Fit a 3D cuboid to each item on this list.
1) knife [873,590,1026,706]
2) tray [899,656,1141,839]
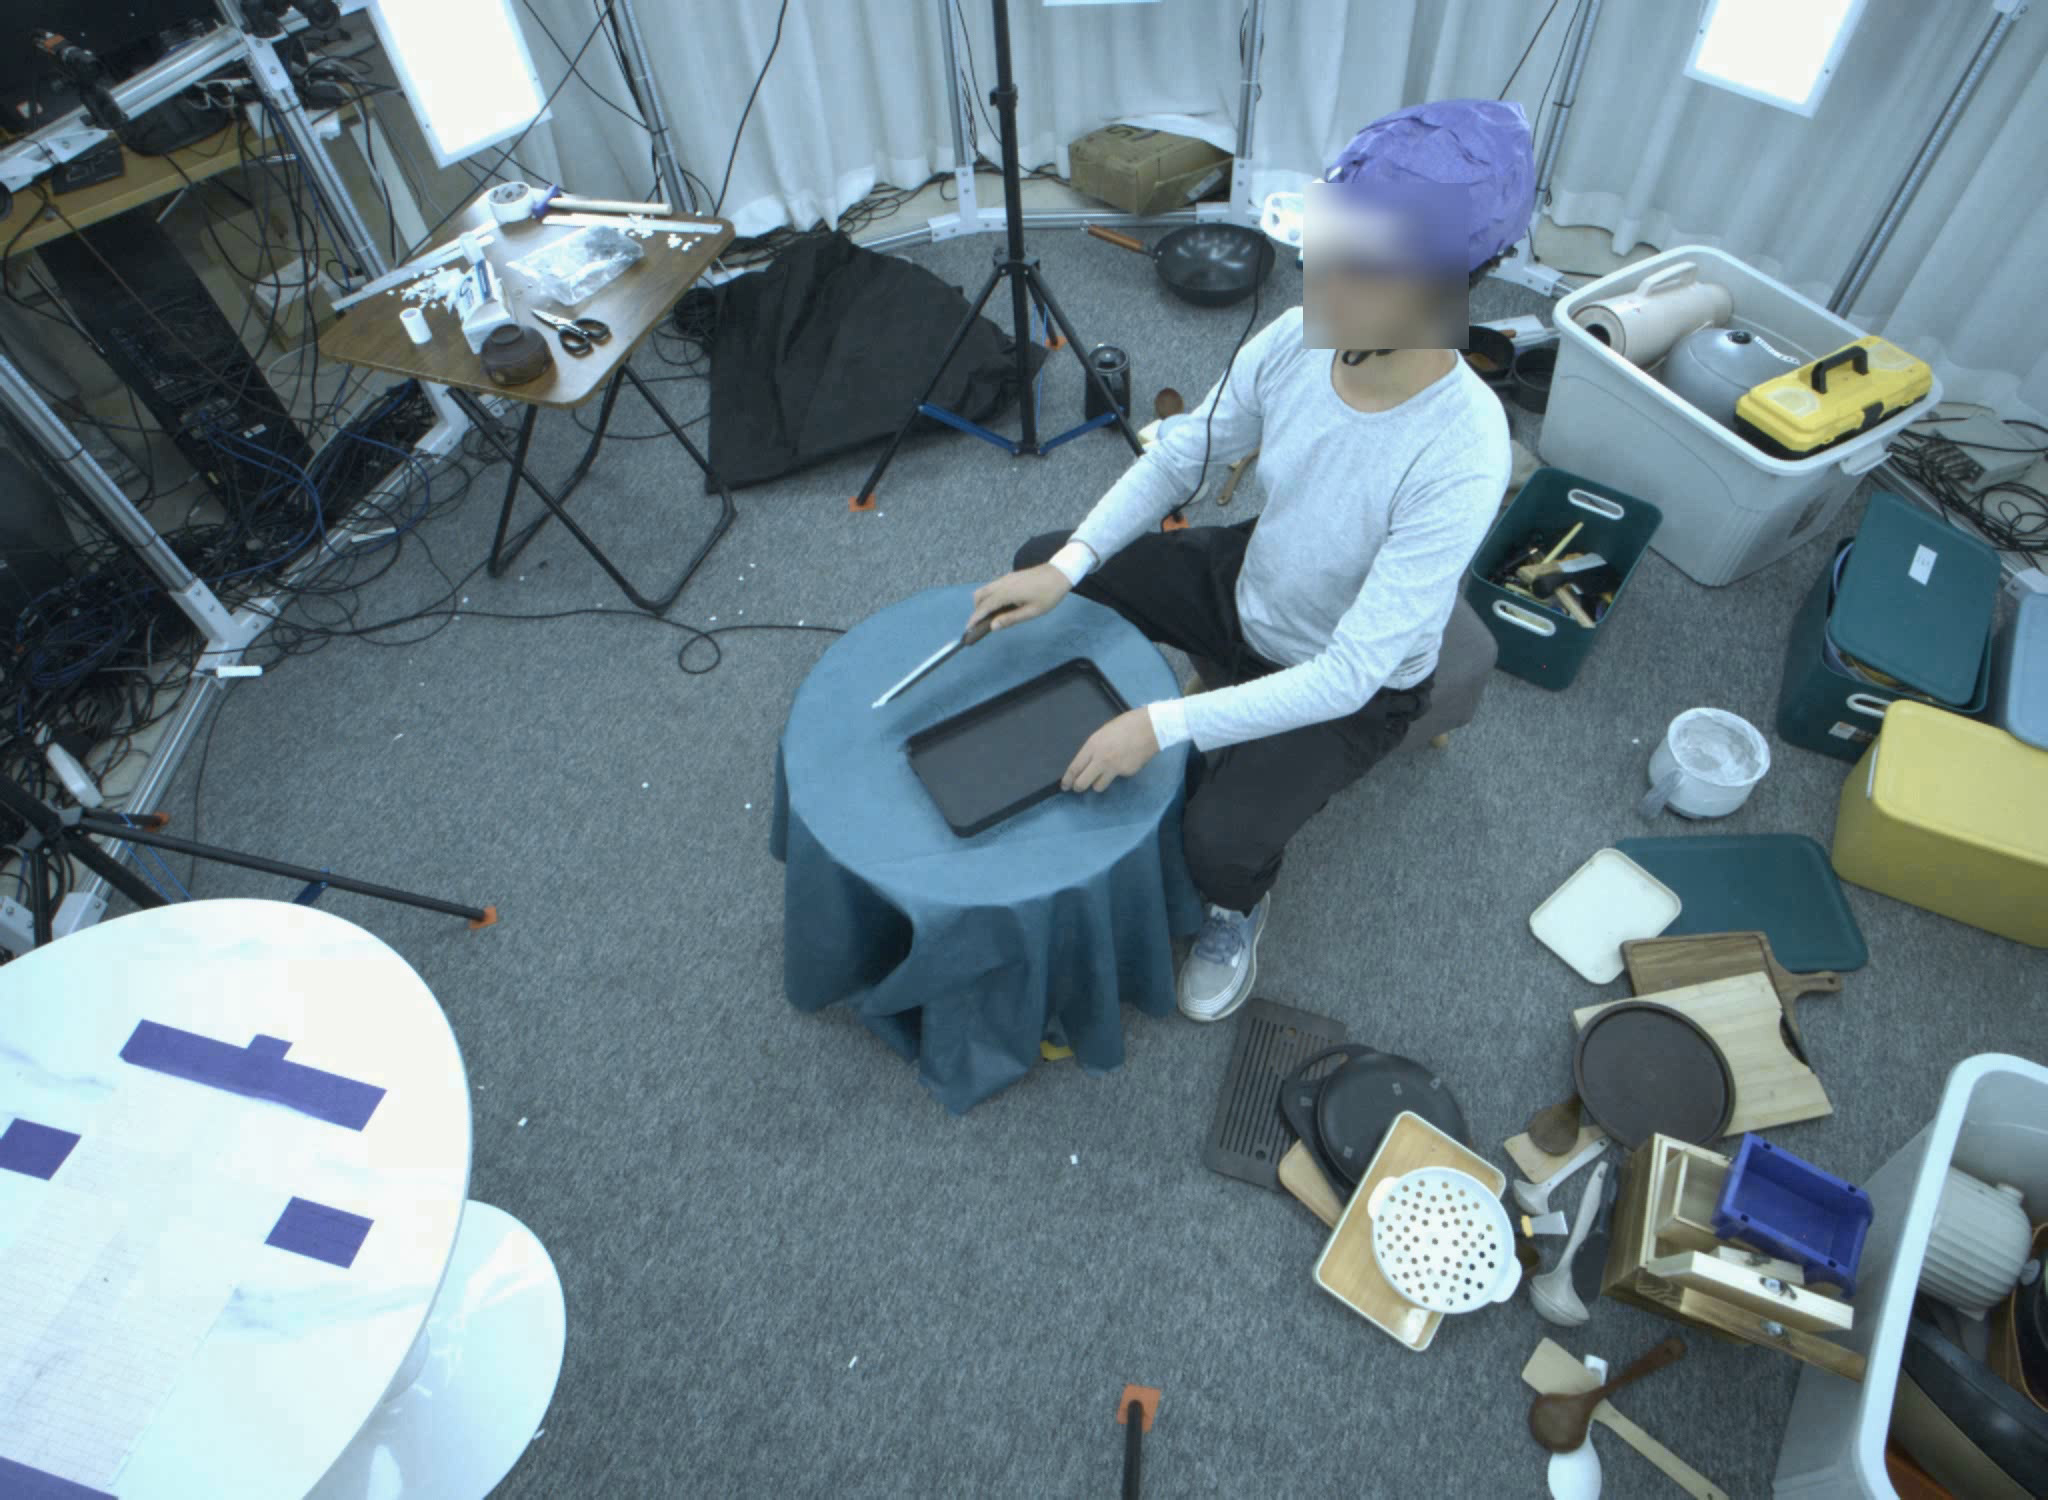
[{"bbox_3d":[-0.110,-0.150,1.822,0.291,0.020,0.049,-38,25,-17],"label":"knife"},{"bbox_3d":[-0.005,-0.008,1.779,0.320,0.037,0.181,-28,59,-18],"label":"tray"}]
